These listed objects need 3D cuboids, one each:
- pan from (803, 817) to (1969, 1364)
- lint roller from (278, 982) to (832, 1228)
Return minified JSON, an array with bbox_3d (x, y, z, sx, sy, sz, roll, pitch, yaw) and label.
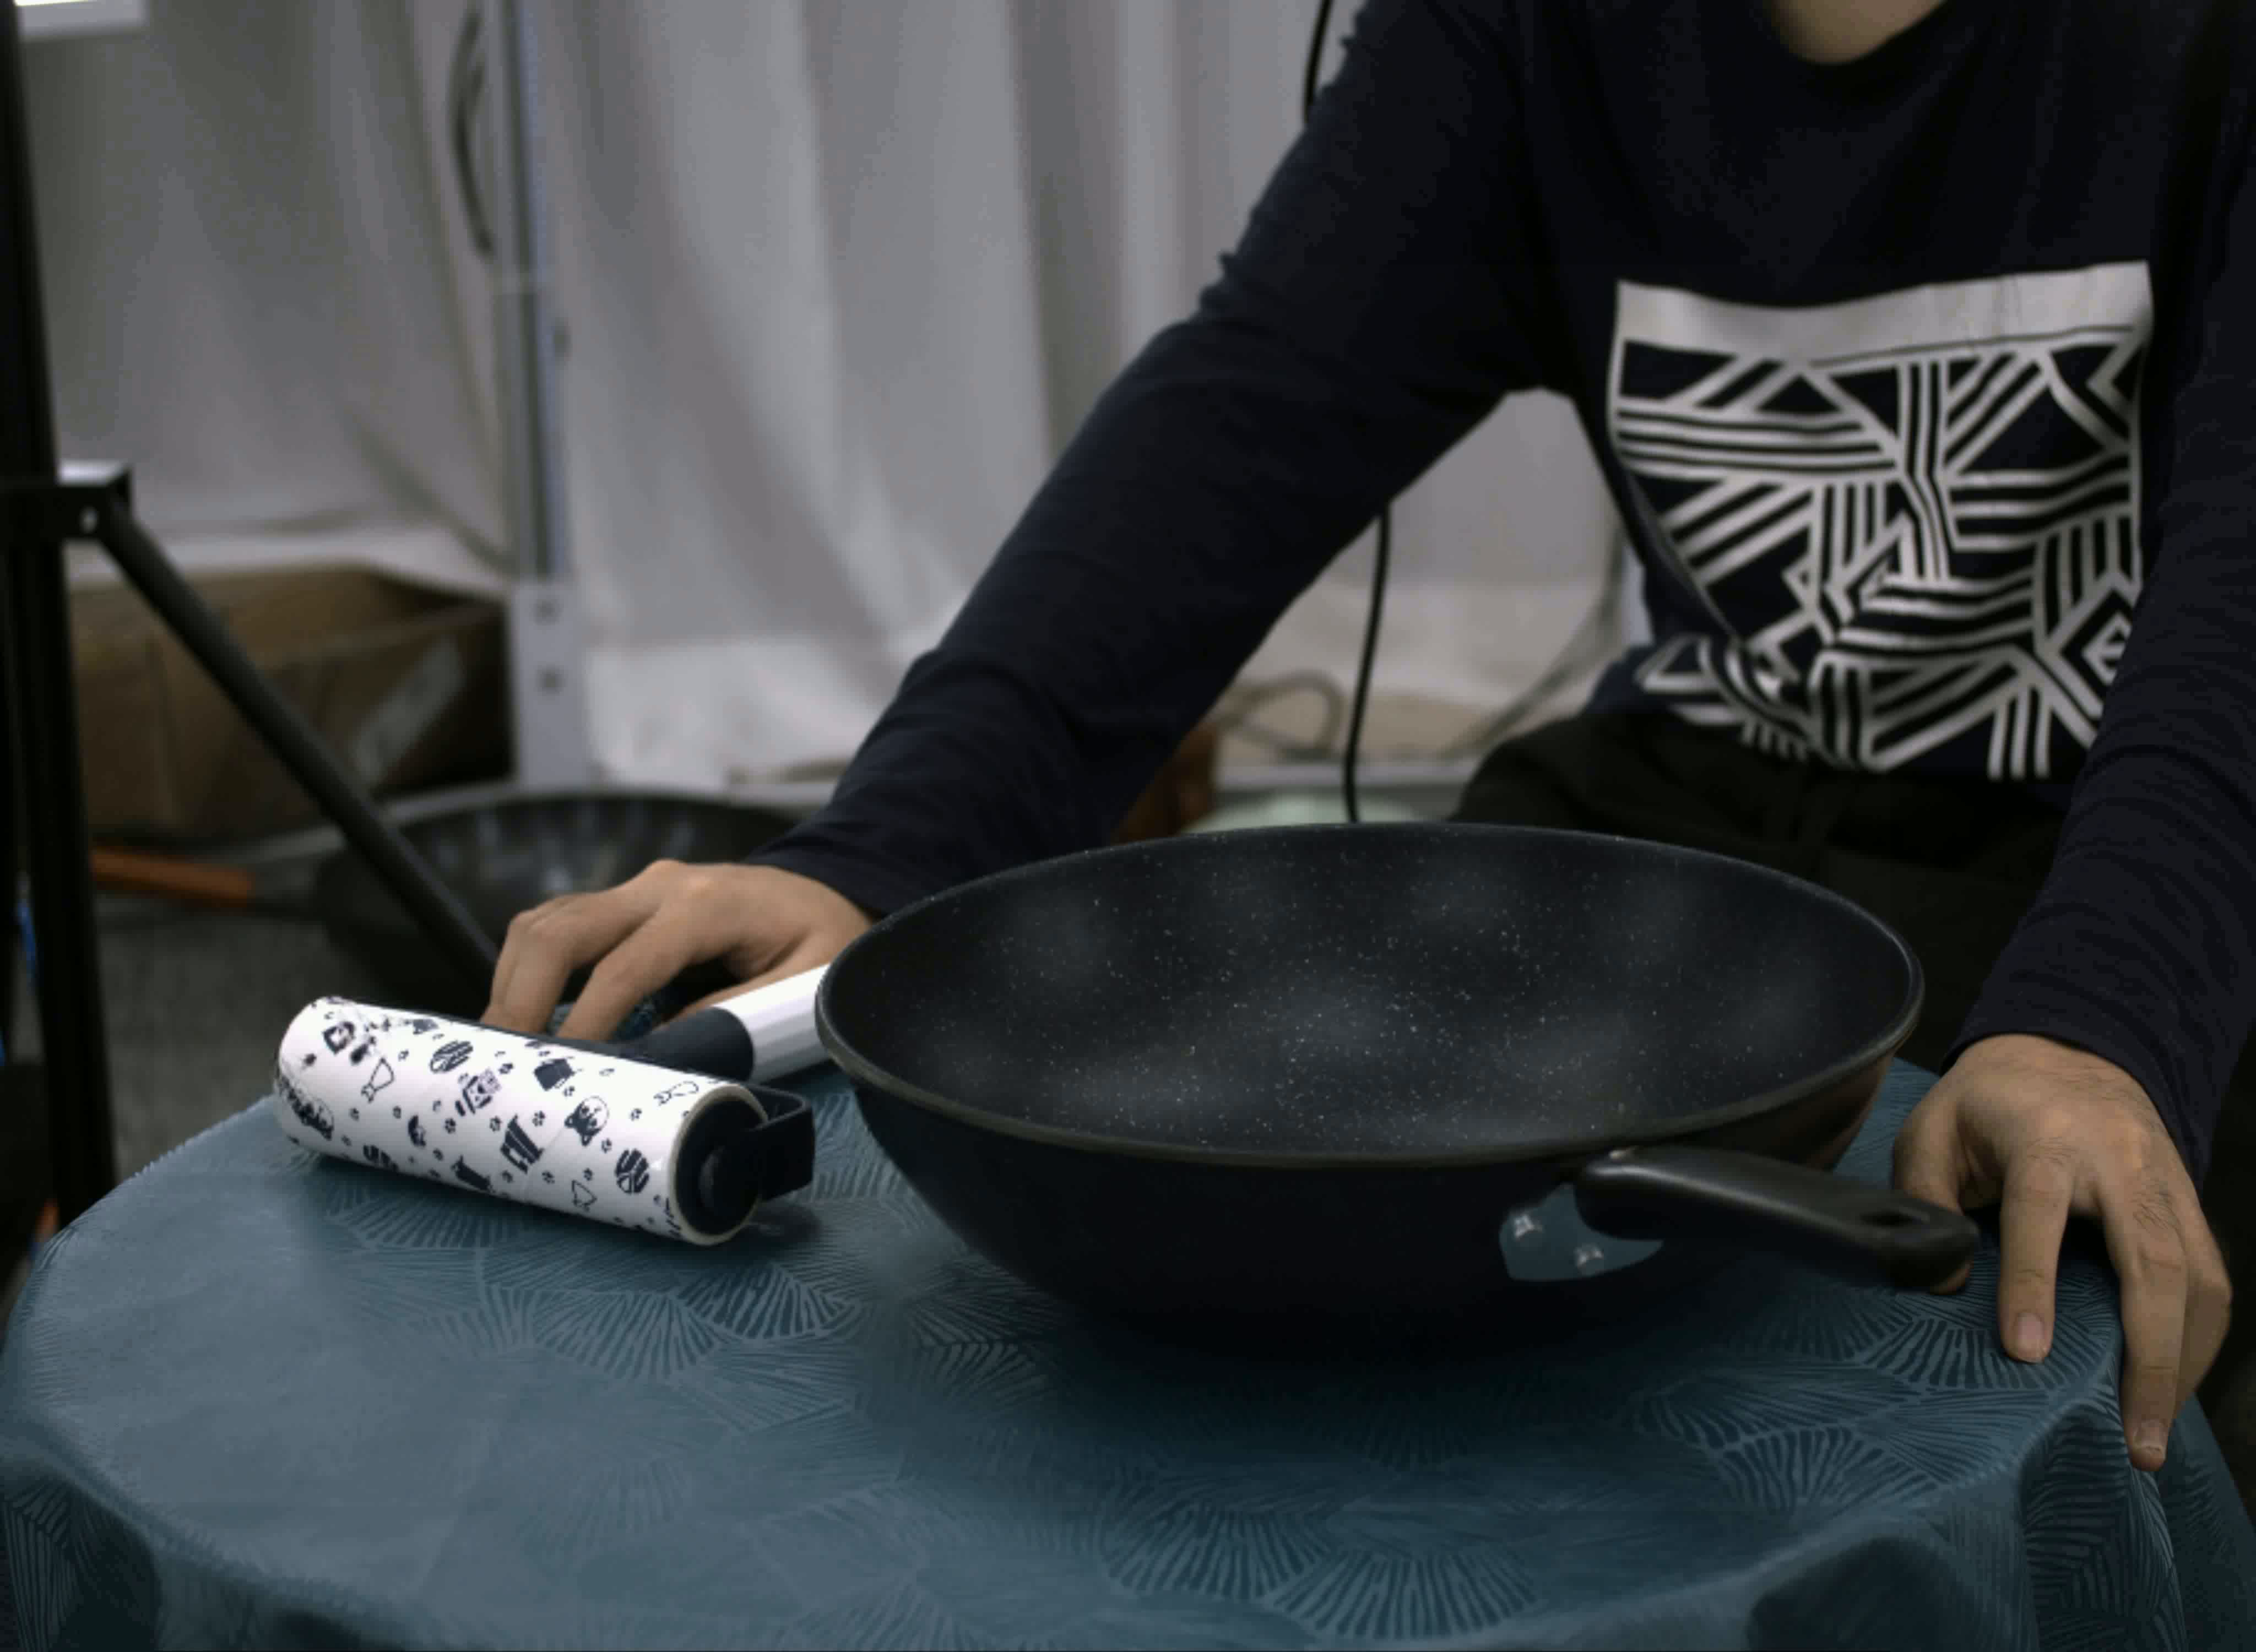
[{"bbox_3d":[0.096,0.090,1.414,0.305,0.111,0.485,-9,17,-19],"label":"pan"},{"bbox_3d":[-0.121,0.065,1.657,0.180,0.050,0.242,8,16,36],"label":"lint roller"}]
